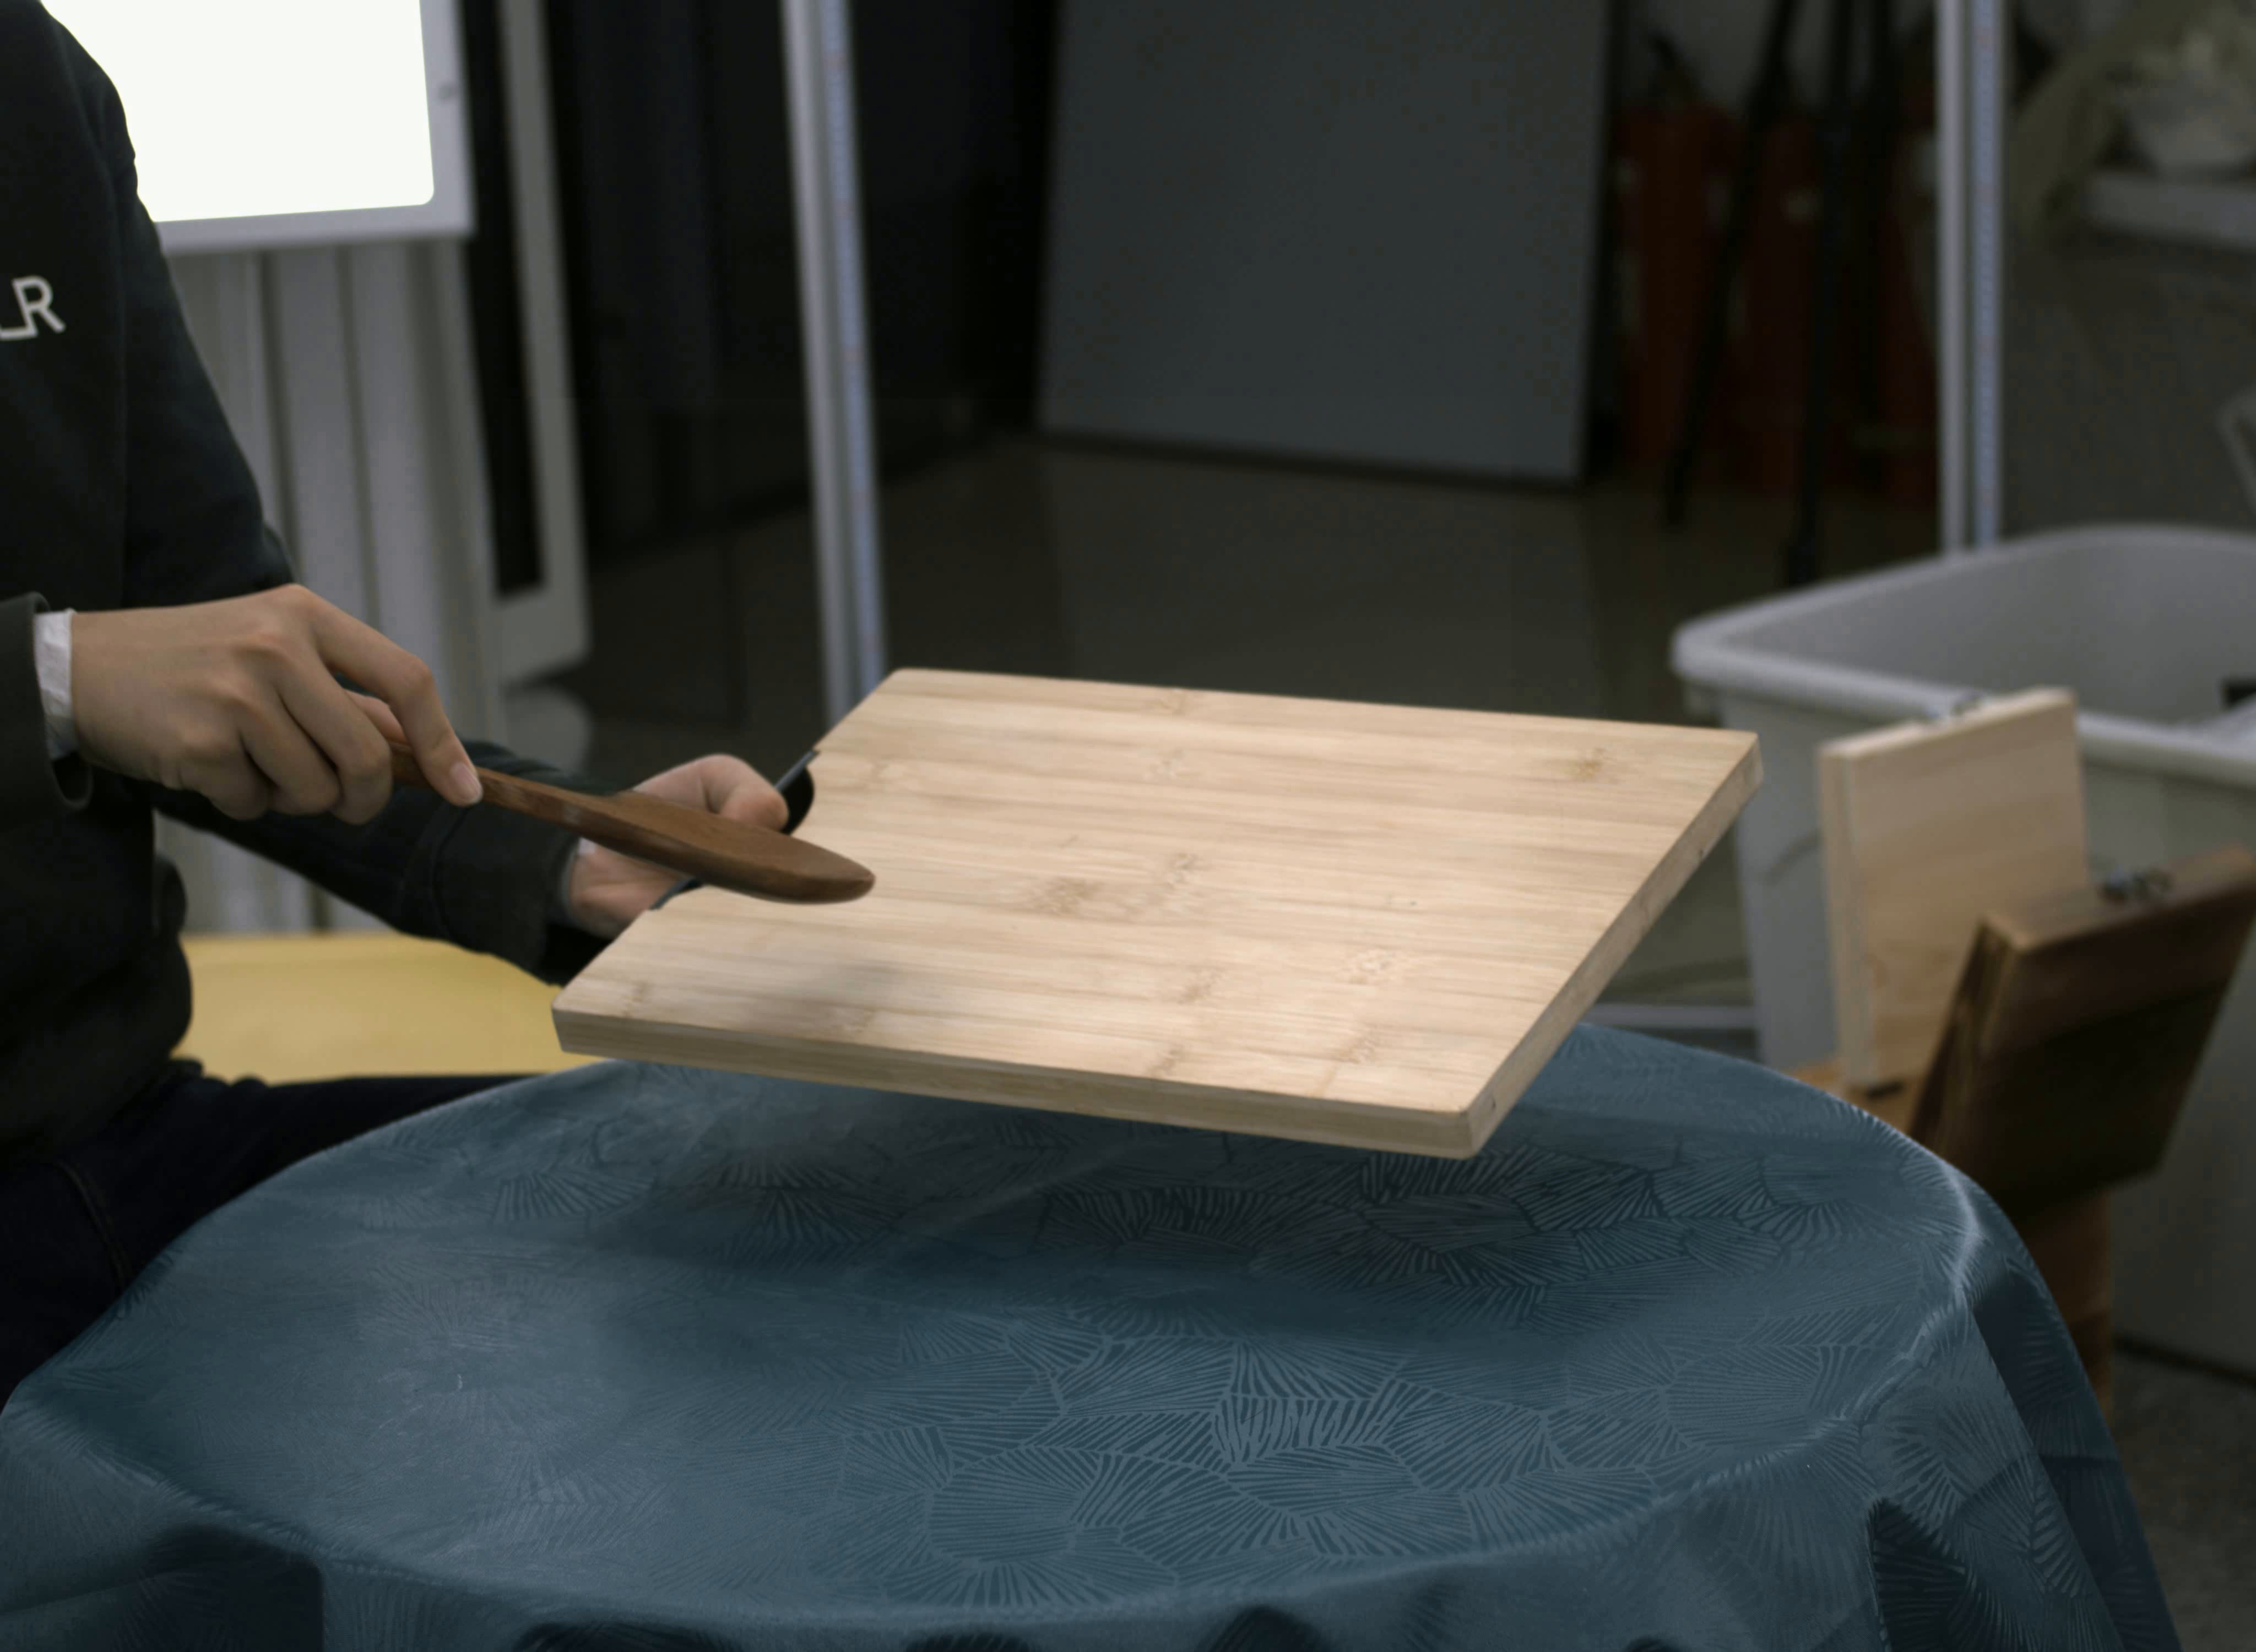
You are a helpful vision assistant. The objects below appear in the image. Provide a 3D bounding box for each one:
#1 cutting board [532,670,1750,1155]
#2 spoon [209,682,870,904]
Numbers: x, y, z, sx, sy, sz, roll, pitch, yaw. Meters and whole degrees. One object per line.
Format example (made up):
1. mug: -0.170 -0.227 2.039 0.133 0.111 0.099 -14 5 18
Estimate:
1. cutting board: 0.005 0.022 1.785 0.350 0.024 0.248 4 31 30
2. spoon: -0.184 -0.008 1.704 0.212 0.017 0.076 17 9 -10
